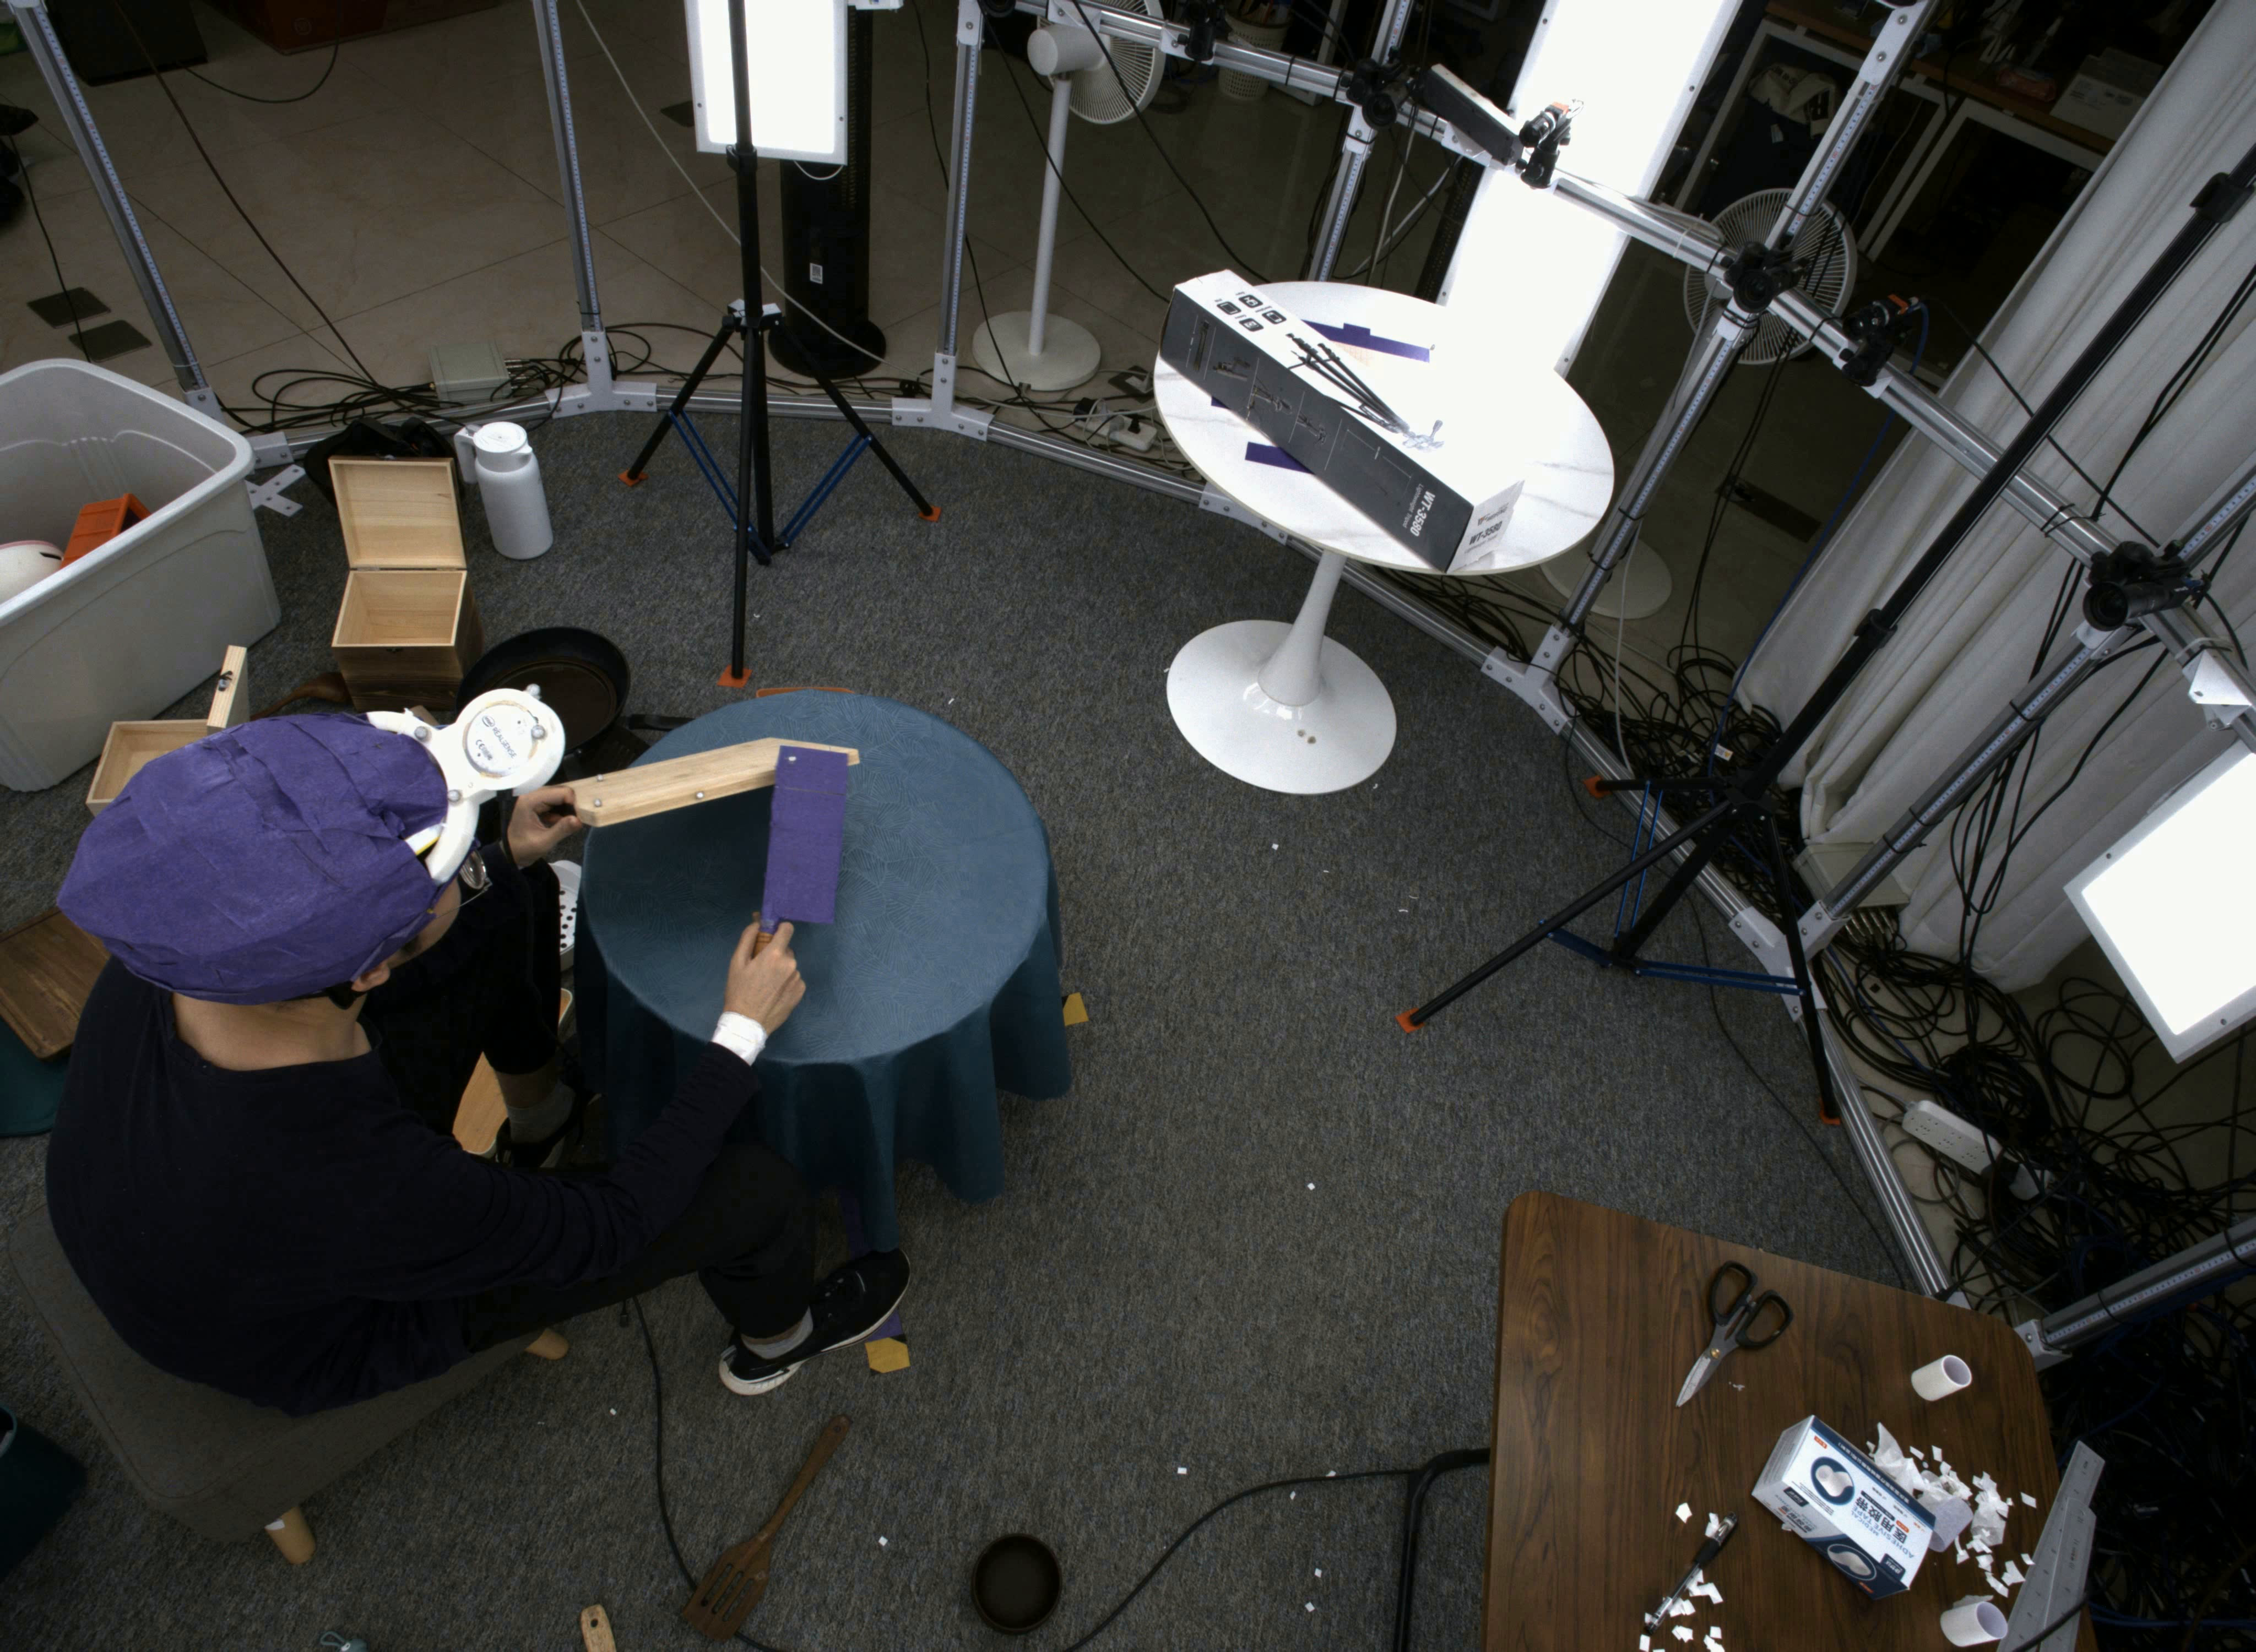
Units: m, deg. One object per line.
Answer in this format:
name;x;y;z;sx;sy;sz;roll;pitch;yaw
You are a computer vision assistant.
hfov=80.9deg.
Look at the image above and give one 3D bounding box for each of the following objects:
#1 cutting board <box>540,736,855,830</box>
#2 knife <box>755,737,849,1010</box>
cutting board;-0.544;-0.060;1.598;0.352;0.024;0.242;-19;19;-41
knife;-0.383;0.057;1.528;0.106;0.031;0.318;7;86;-36
